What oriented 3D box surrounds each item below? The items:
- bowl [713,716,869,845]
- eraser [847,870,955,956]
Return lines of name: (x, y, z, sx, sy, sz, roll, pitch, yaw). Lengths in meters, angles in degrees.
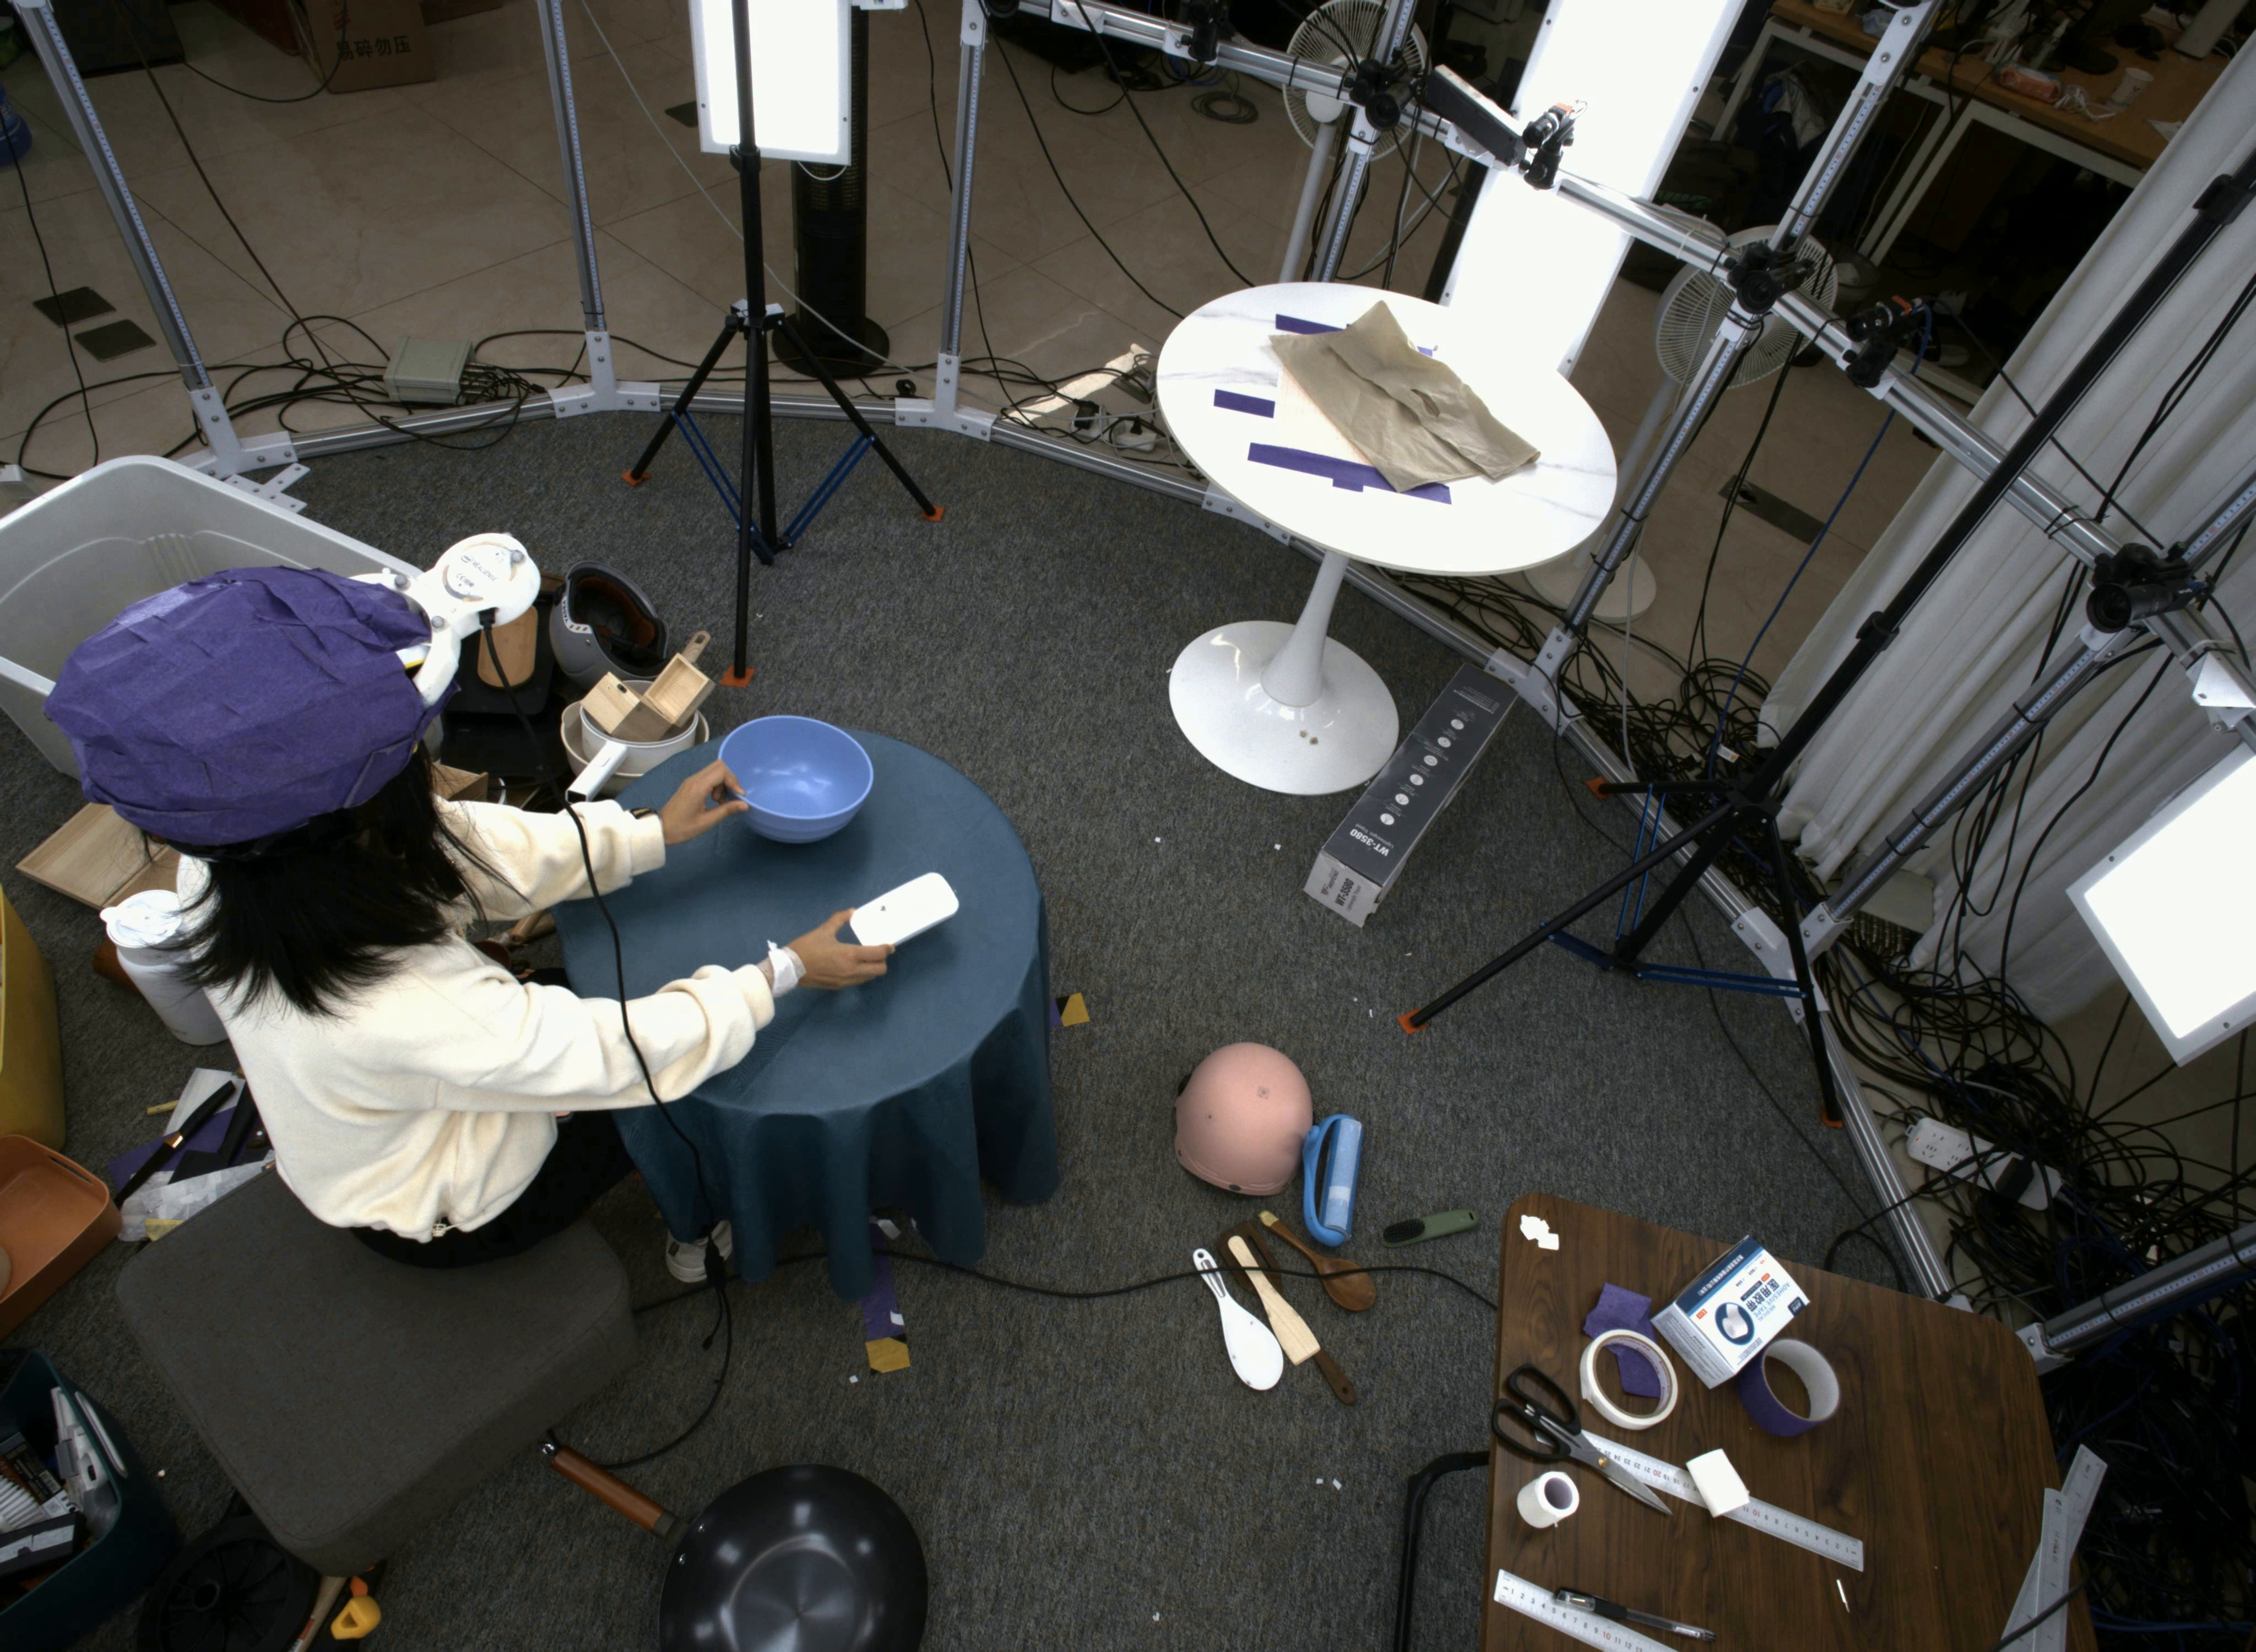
bowl: (-0.442, -0.044, 1.673, 0.198, 0.097, 0.192, 19, 38, -13)
eraser: (-0.279, 0.104, 1.601, 0.131, 0.035, 0.062, -28, 73, -24)
